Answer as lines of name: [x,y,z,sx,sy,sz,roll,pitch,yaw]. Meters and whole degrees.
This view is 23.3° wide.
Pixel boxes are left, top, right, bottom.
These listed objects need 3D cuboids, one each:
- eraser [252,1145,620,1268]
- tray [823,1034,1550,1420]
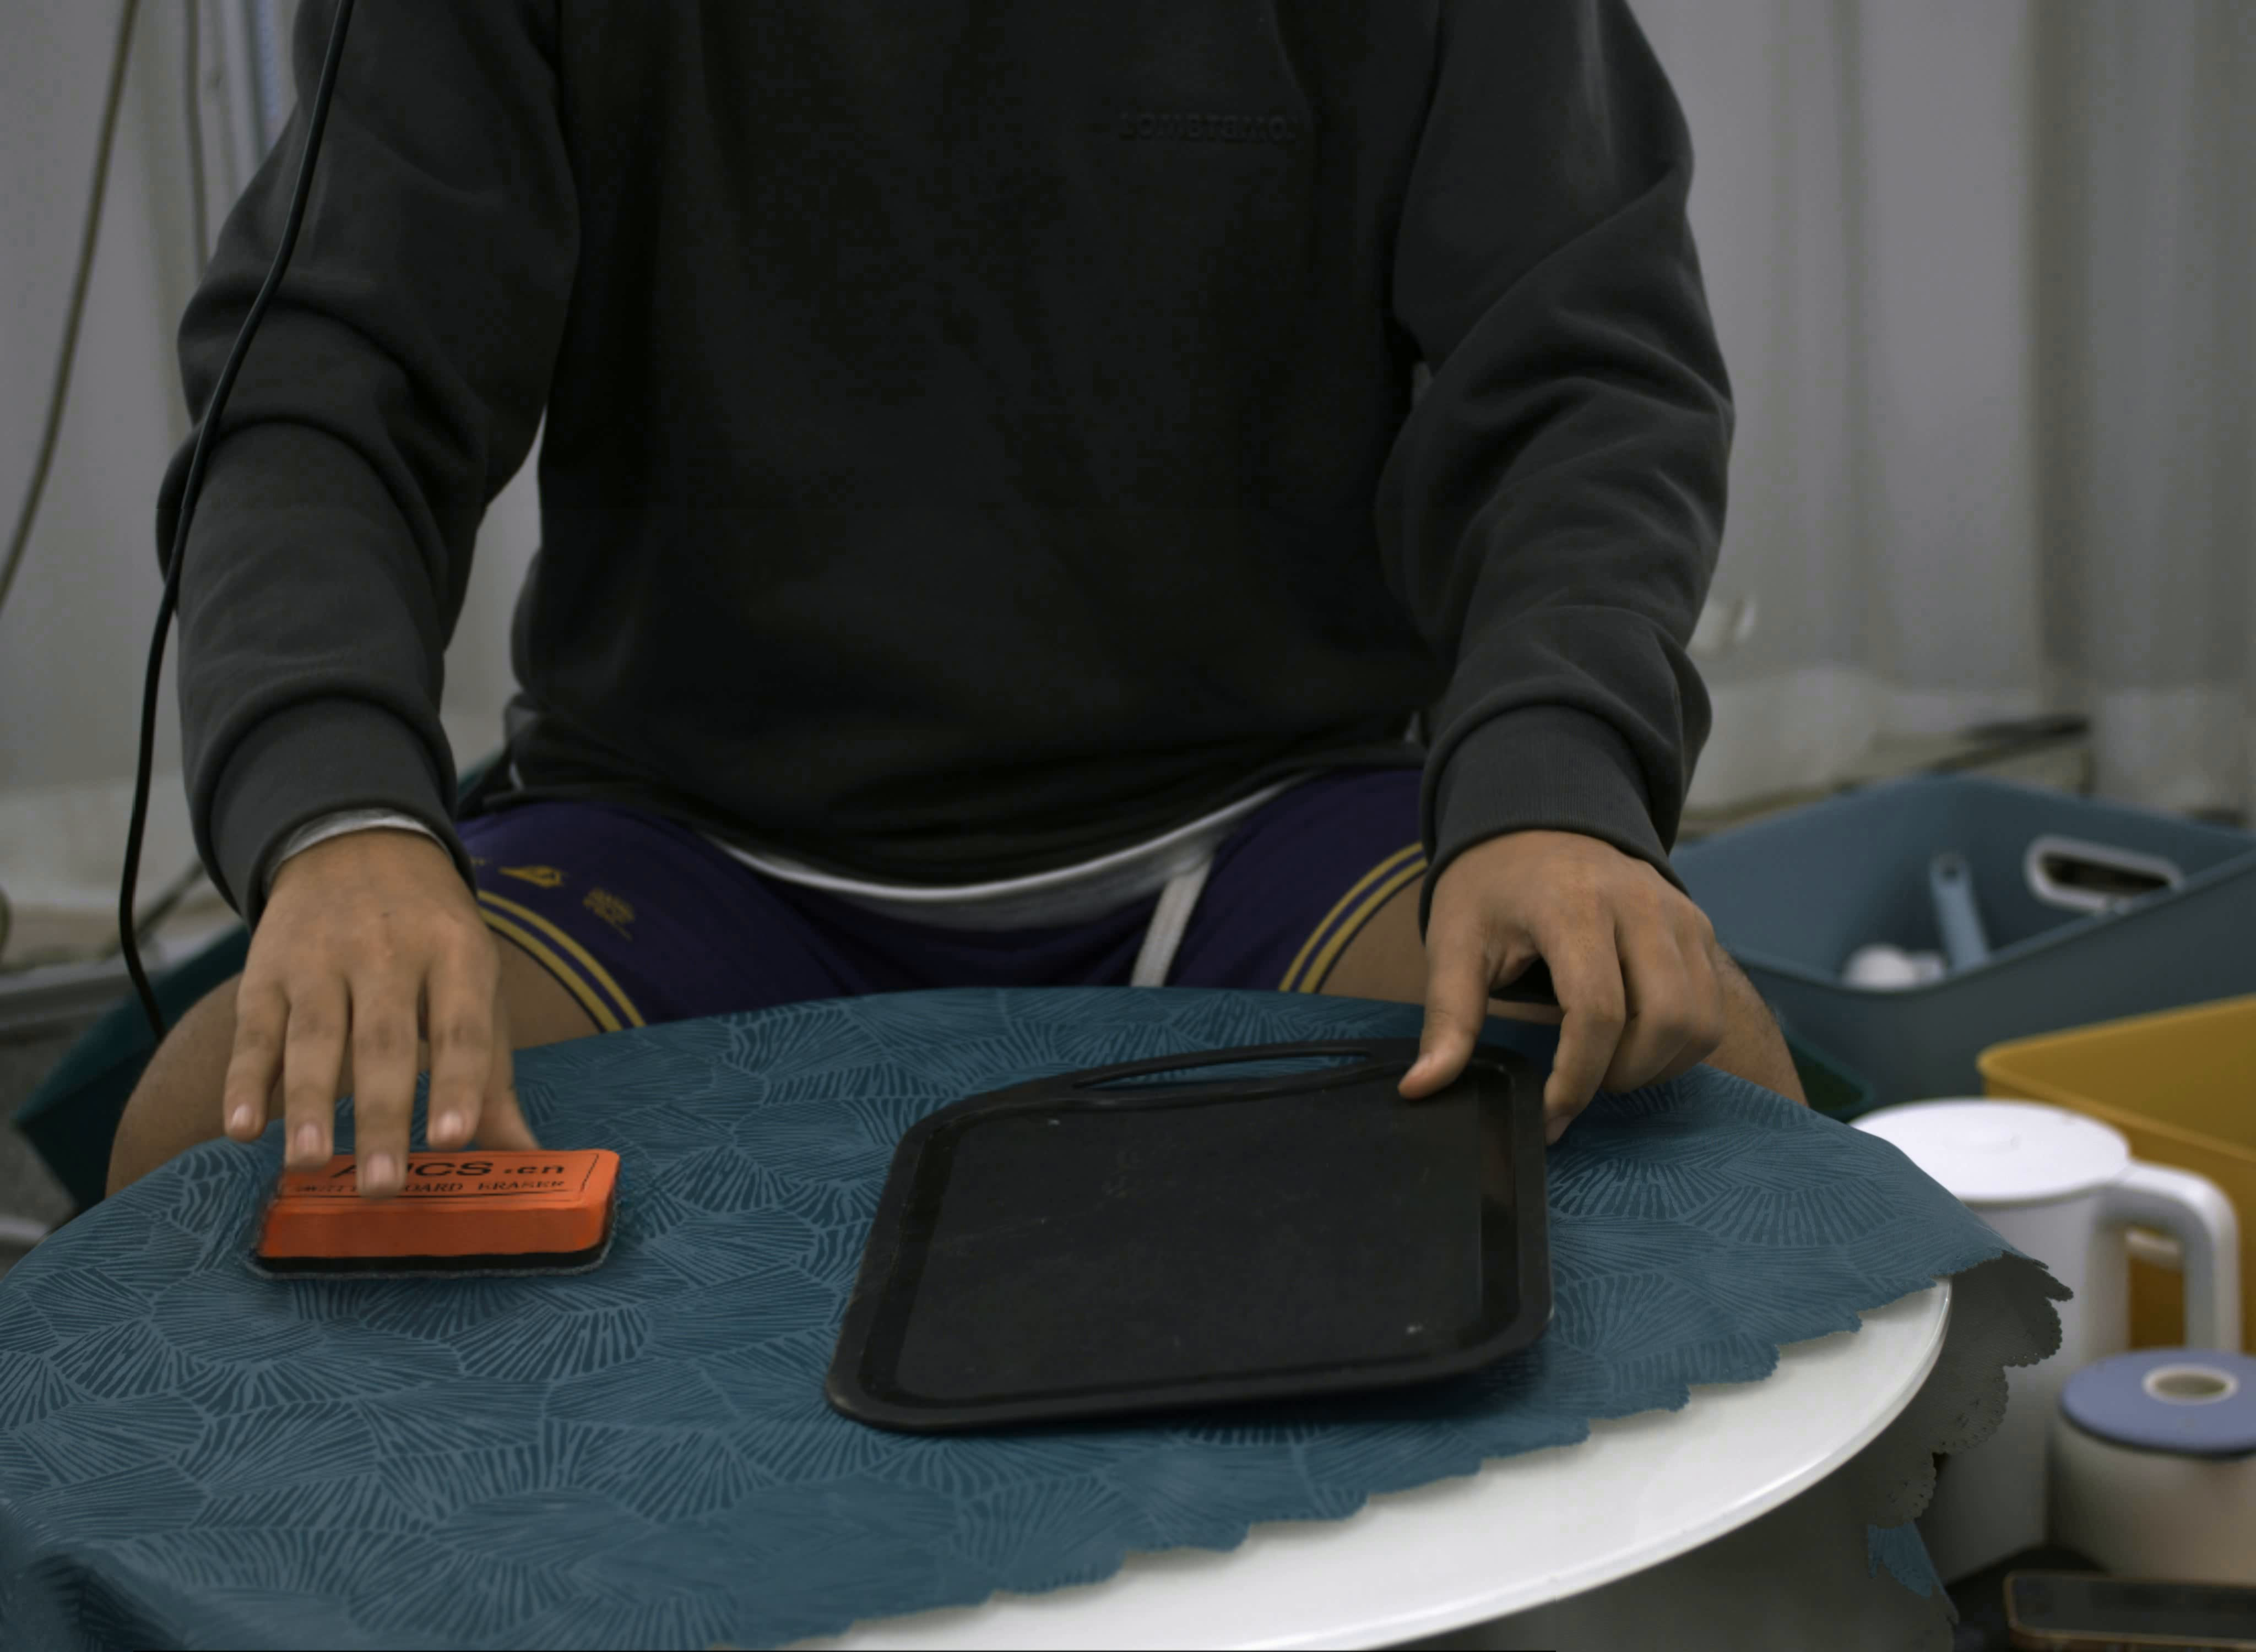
eraser: [-0.213,0.117,1.692,0.108,0.023,0.059,0,15,5]
tray: [0.023,0.115,1.664,0.210,0.010,0.327,-7,14,6]
